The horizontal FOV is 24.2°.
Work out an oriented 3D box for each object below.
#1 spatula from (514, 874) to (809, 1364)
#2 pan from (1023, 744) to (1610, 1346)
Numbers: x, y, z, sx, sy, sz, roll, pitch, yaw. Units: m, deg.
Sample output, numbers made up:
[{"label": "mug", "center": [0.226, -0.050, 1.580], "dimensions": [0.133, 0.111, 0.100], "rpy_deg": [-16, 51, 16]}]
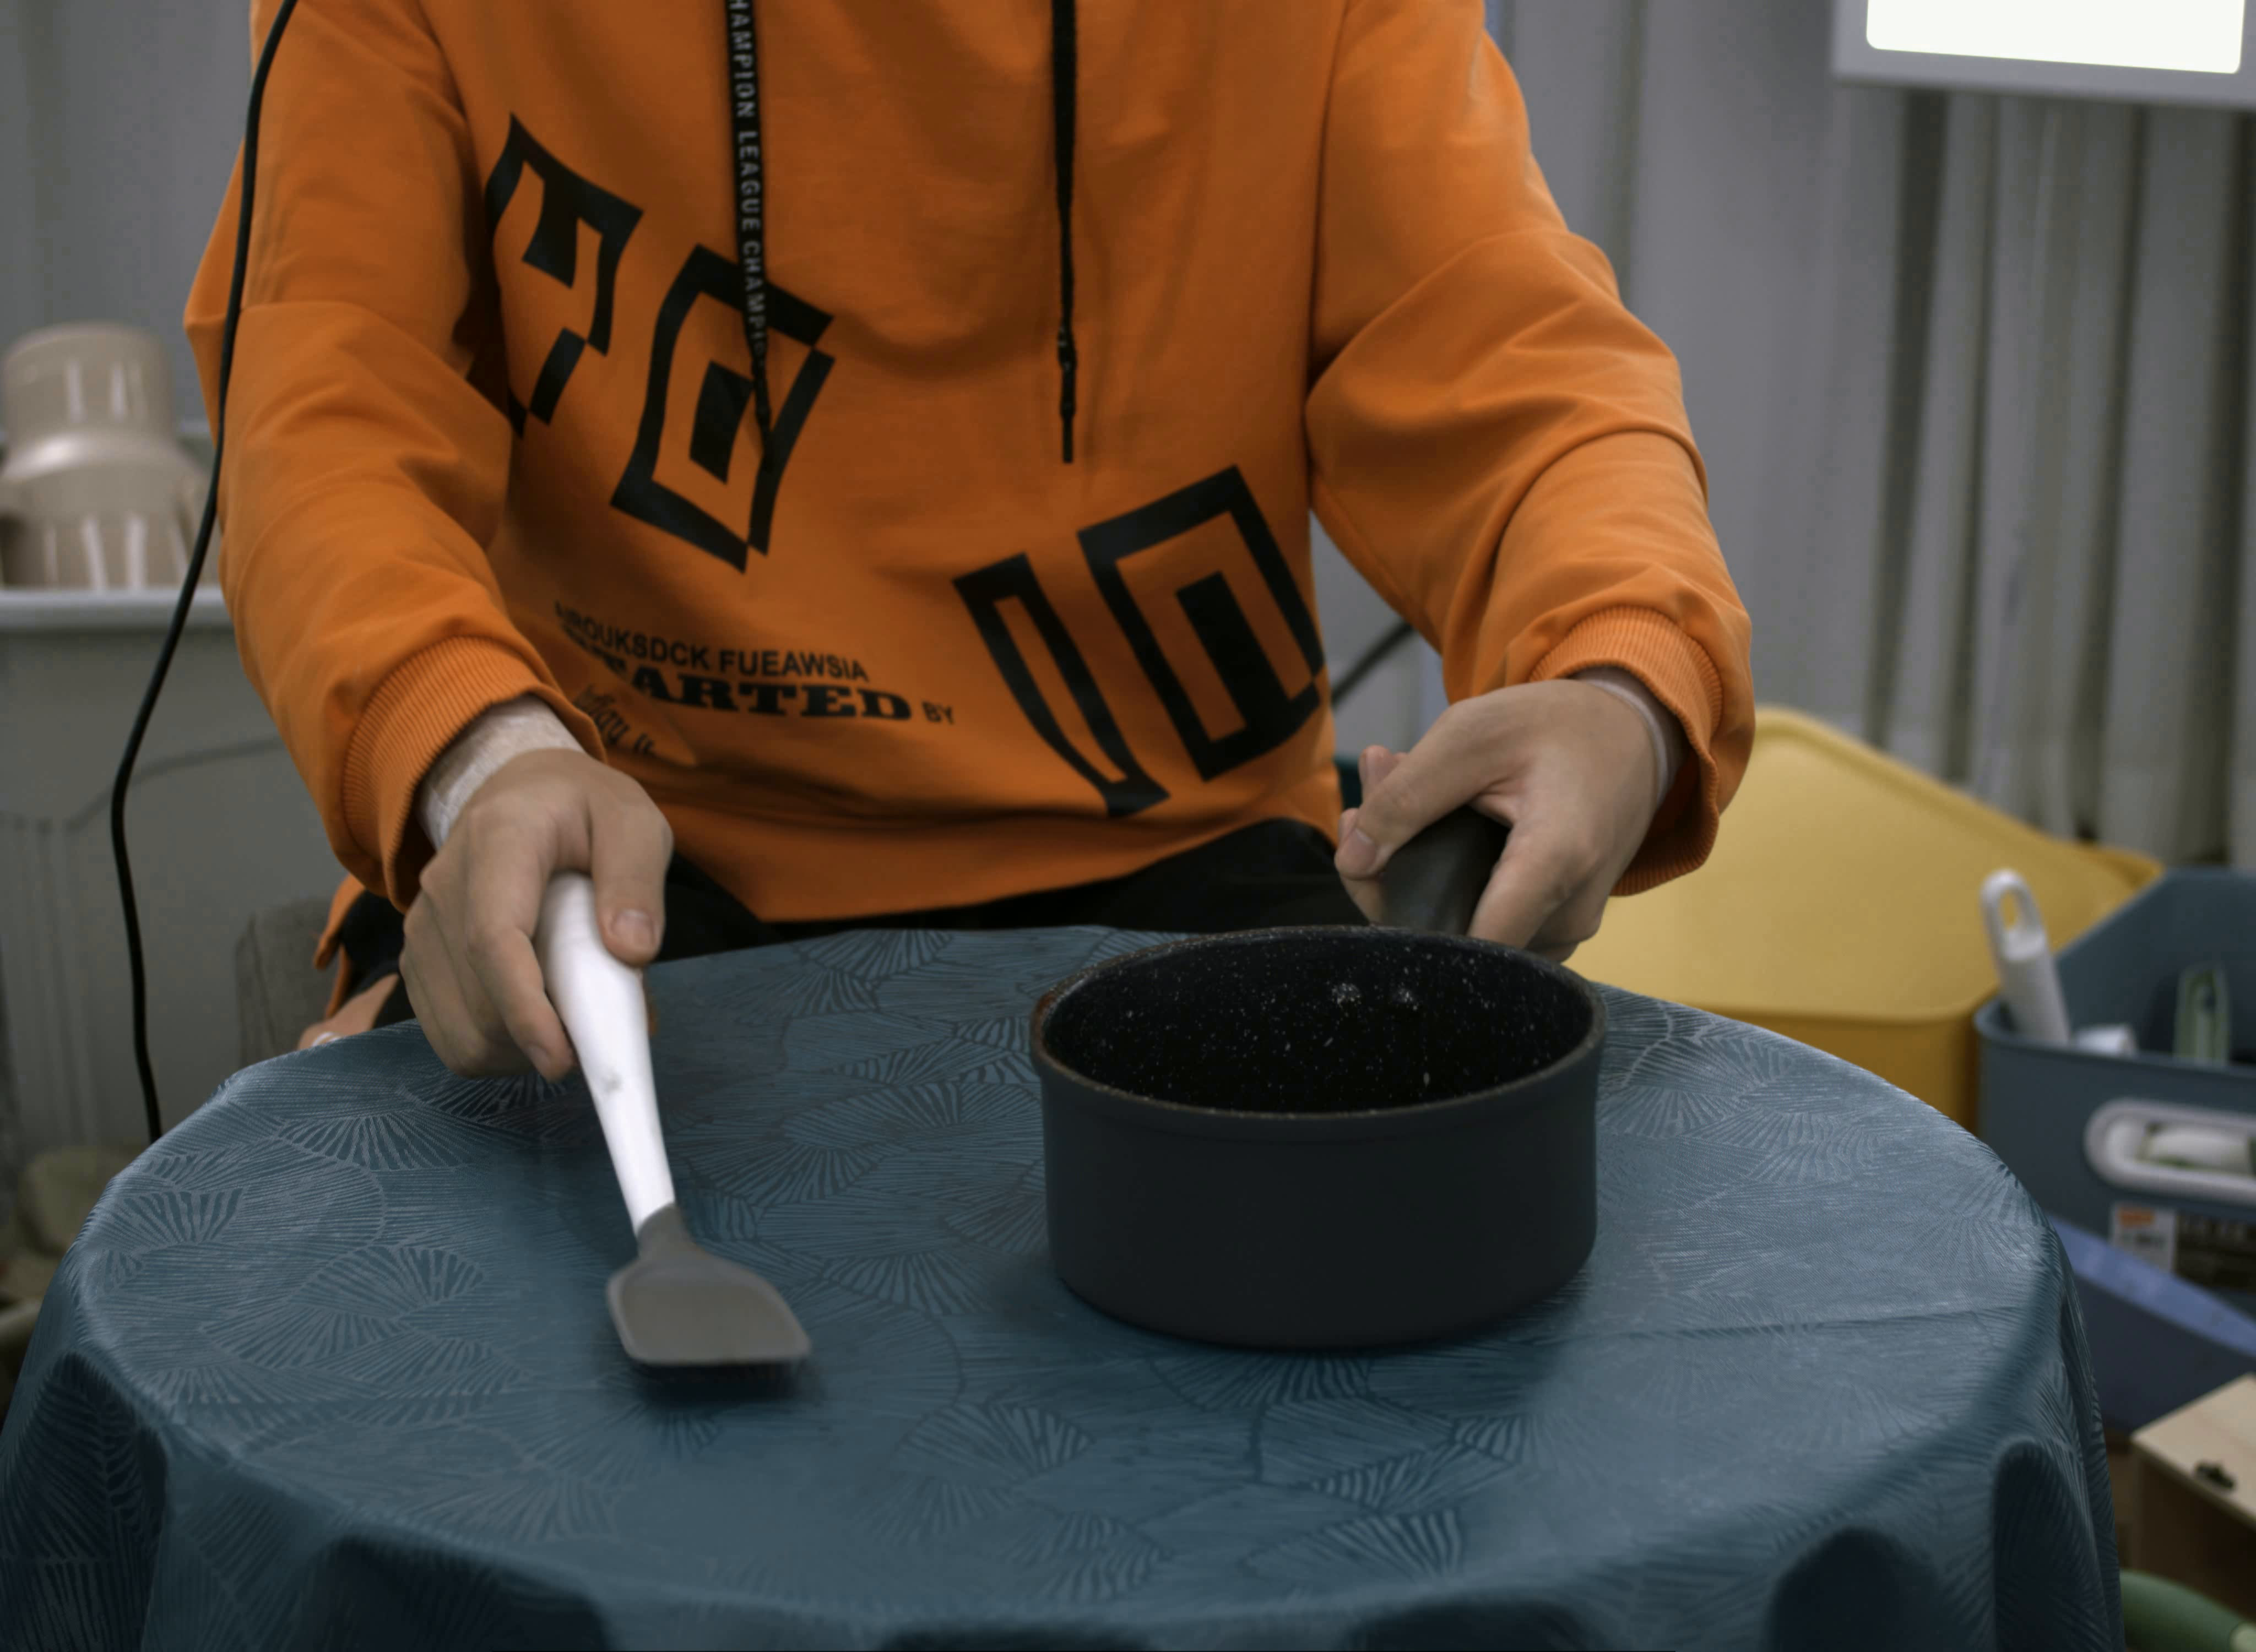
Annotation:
[{"label": "spatula", "center": [-0.147, 0.091, 1.564], "dimensions": [0.059, 0.032, 0.284], "rpy_deg": [4, 25, -17]}, {"label": "pan", "center": [0.080, 0.063, 1.621], "dimensions": [0.170, 0.087, 0.328], "rpy_deg": [4, 20, 17]}]
